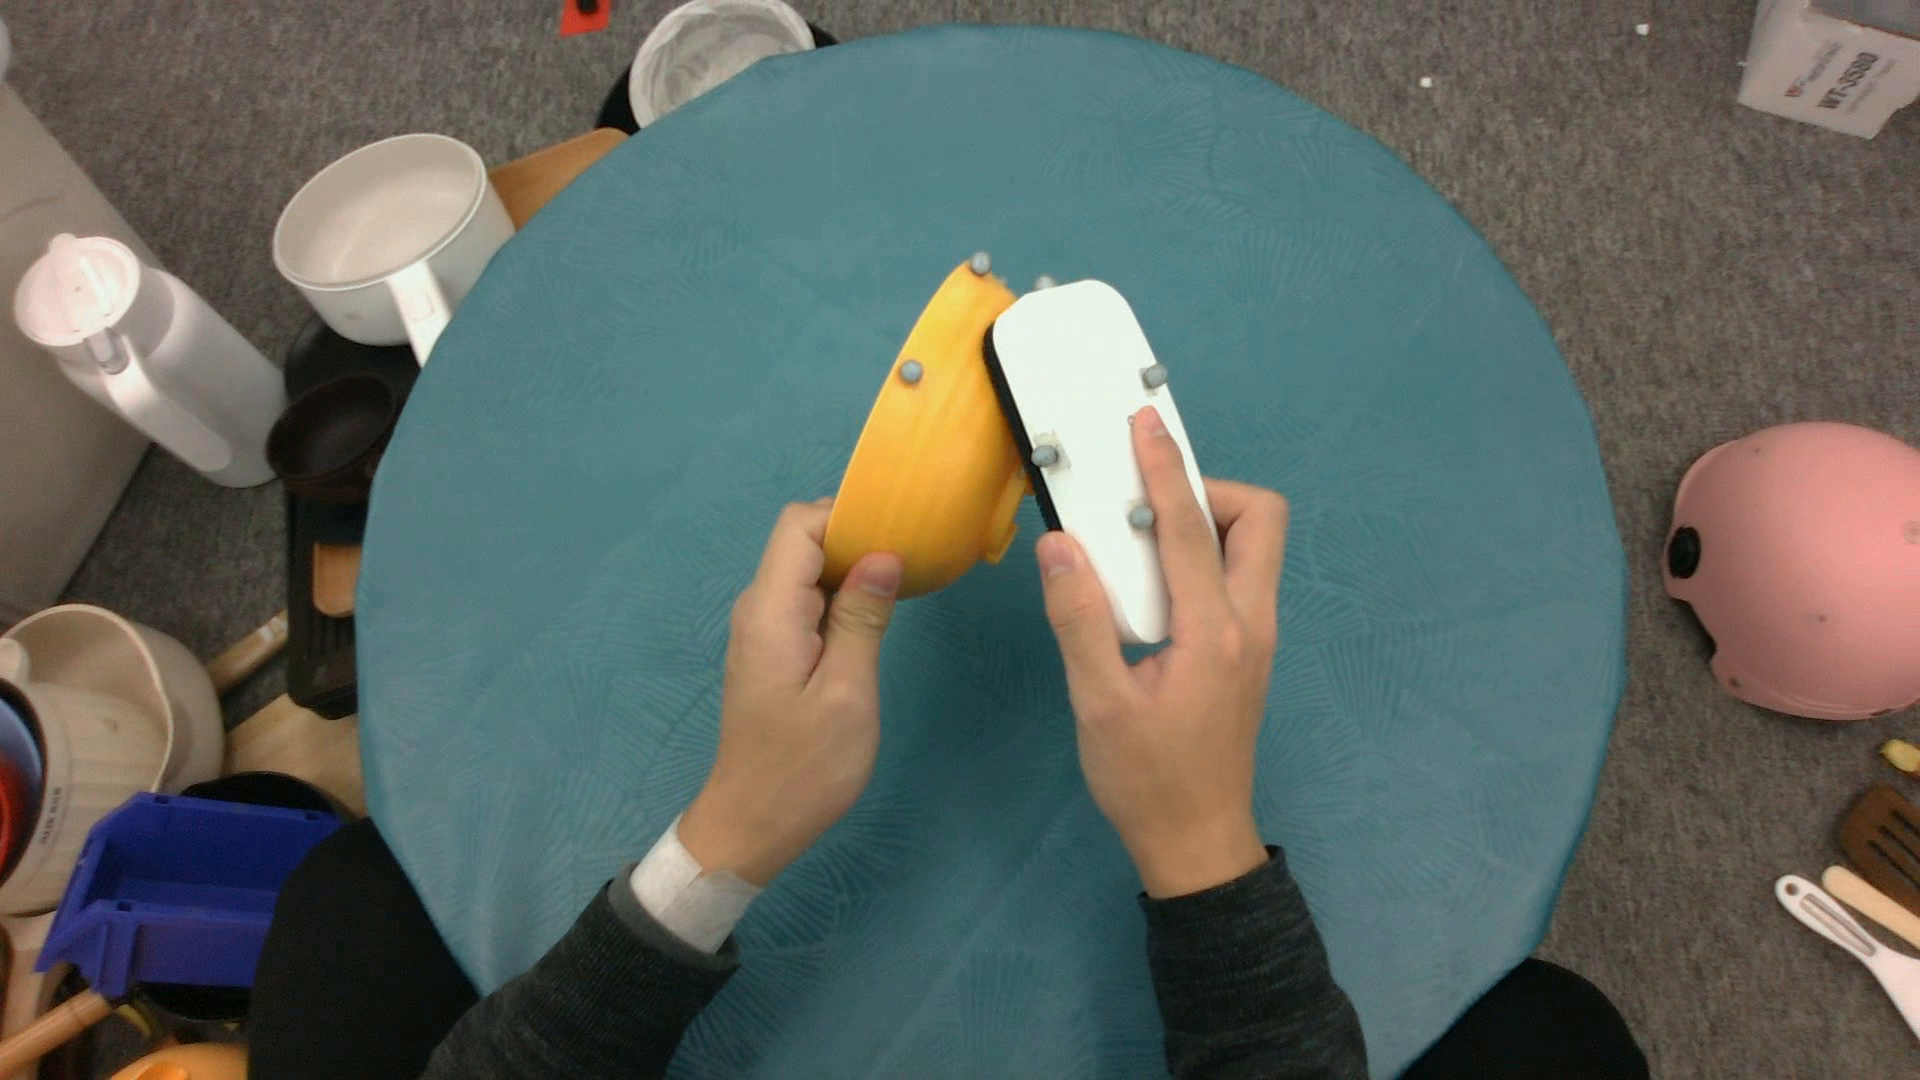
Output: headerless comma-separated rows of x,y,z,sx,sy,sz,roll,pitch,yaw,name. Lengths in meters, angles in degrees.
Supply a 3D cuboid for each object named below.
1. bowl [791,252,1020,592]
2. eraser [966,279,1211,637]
-0.007,-0.036,0.546,0.060,0.145,0.146,24,71,6,bowl
0.048,-0.030,0.504,0.063,0.034,0.131,-20,88,-43,eraser
